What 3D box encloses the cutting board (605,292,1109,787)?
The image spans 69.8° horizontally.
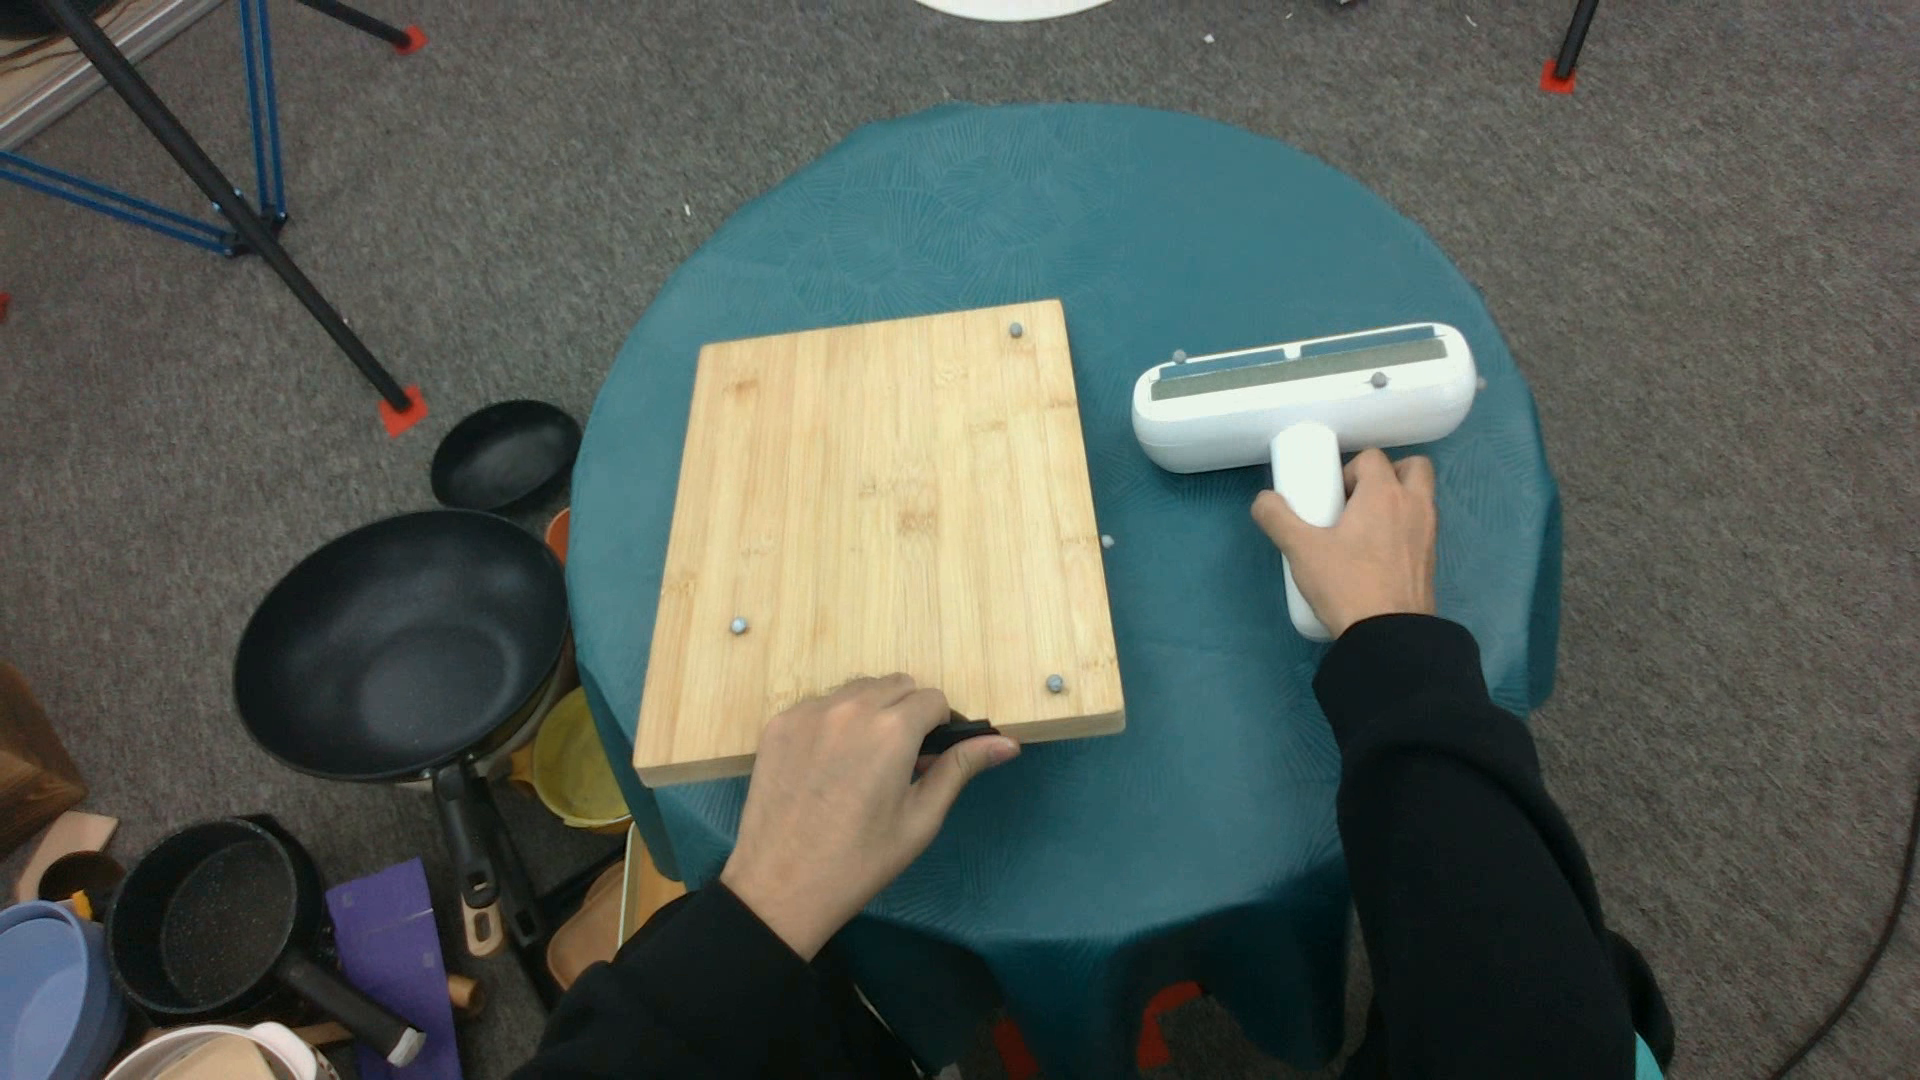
[{"bbox_3d":[-0.057,-0.021,0.779,0.250,0.023,0.350,-8,45,2],"label":"cutting board"}]

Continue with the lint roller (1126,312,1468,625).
[{"bbox_3d":[0.188,-0.044,0.774,0.192,0.074,0.193,-1,50,13],"label":"lint roller"}]
